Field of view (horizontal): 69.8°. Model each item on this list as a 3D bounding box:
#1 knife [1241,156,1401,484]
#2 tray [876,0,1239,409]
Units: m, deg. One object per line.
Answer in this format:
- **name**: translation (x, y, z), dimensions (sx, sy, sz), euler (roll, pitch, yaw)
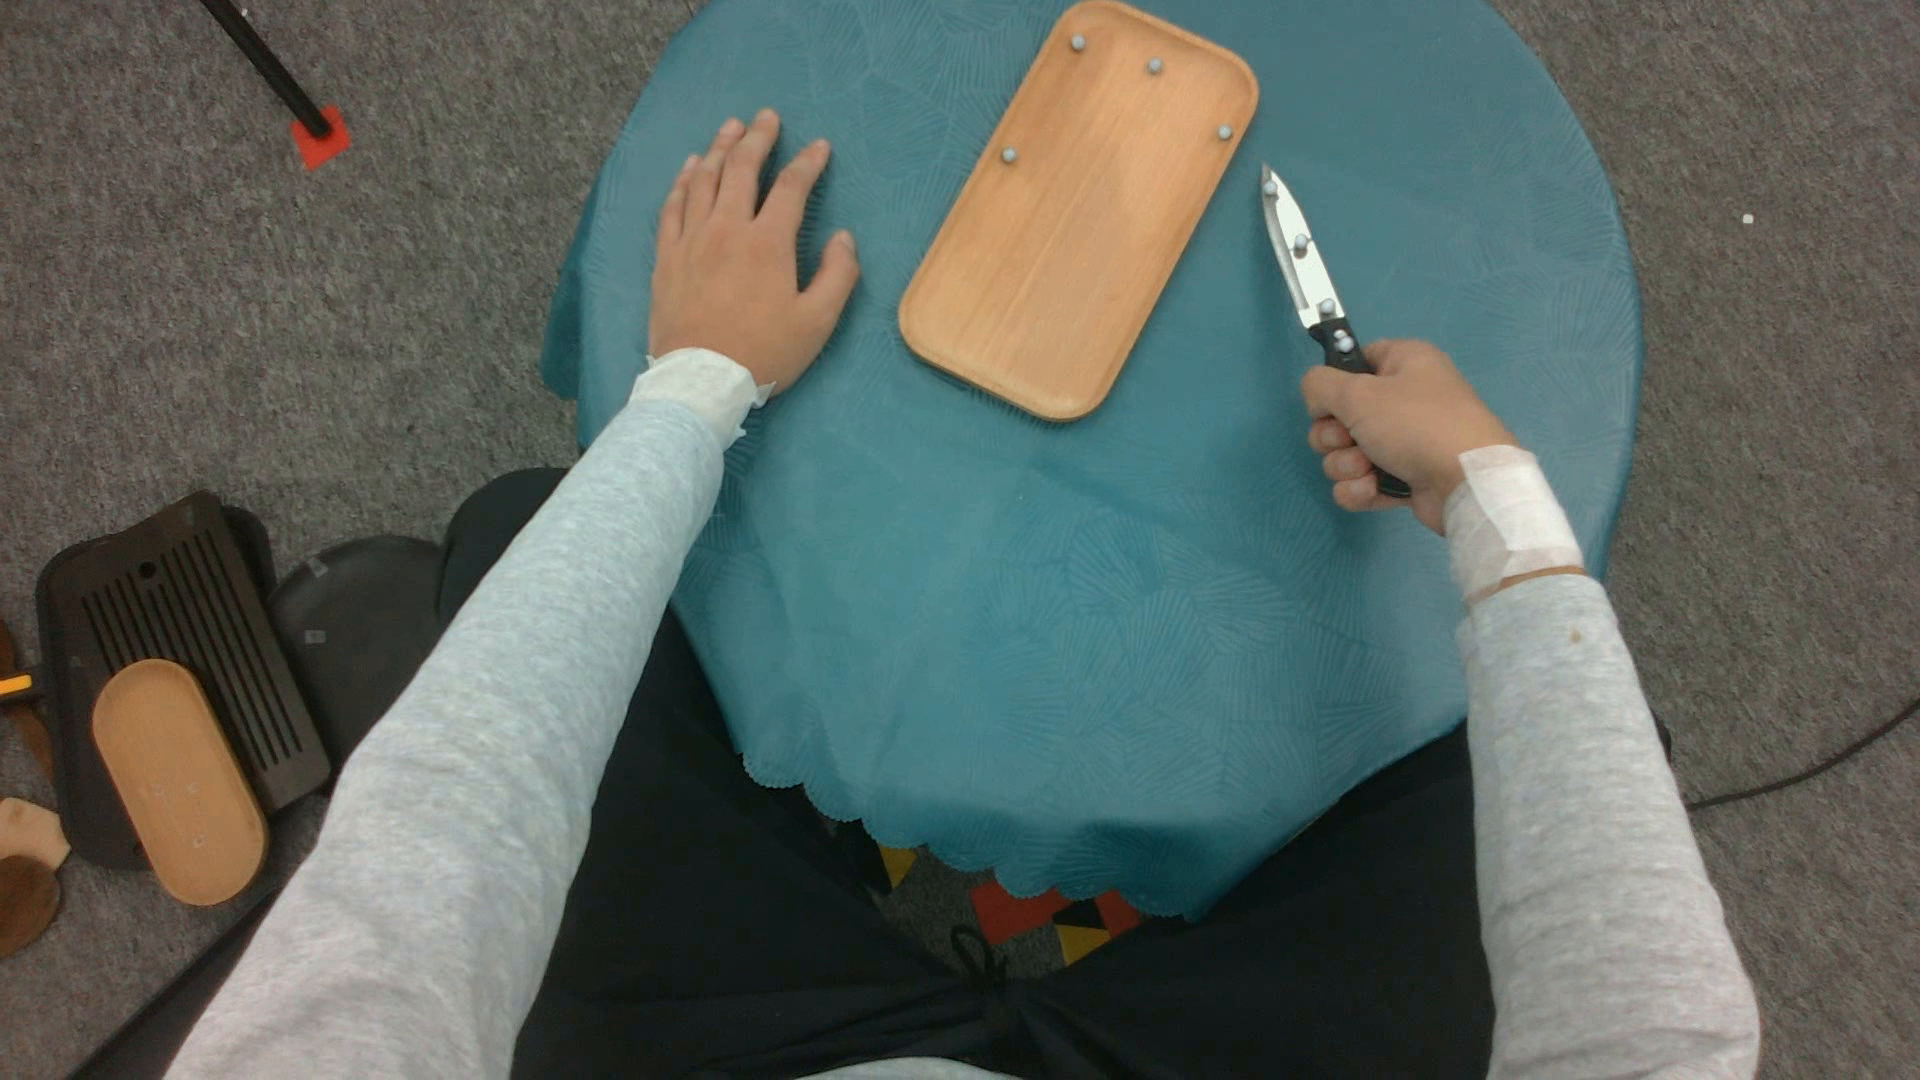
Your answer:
- **knife**: translation (0.189, -0.128, 0.737), dimensions (0.024, 0.016, 0.239), euler (-12, 56, 0)
- **tray**: translation (0.058, -0.197, 0.783), dimensions (0.130, 0.023, 0.251), euler (27, 77, 8)
